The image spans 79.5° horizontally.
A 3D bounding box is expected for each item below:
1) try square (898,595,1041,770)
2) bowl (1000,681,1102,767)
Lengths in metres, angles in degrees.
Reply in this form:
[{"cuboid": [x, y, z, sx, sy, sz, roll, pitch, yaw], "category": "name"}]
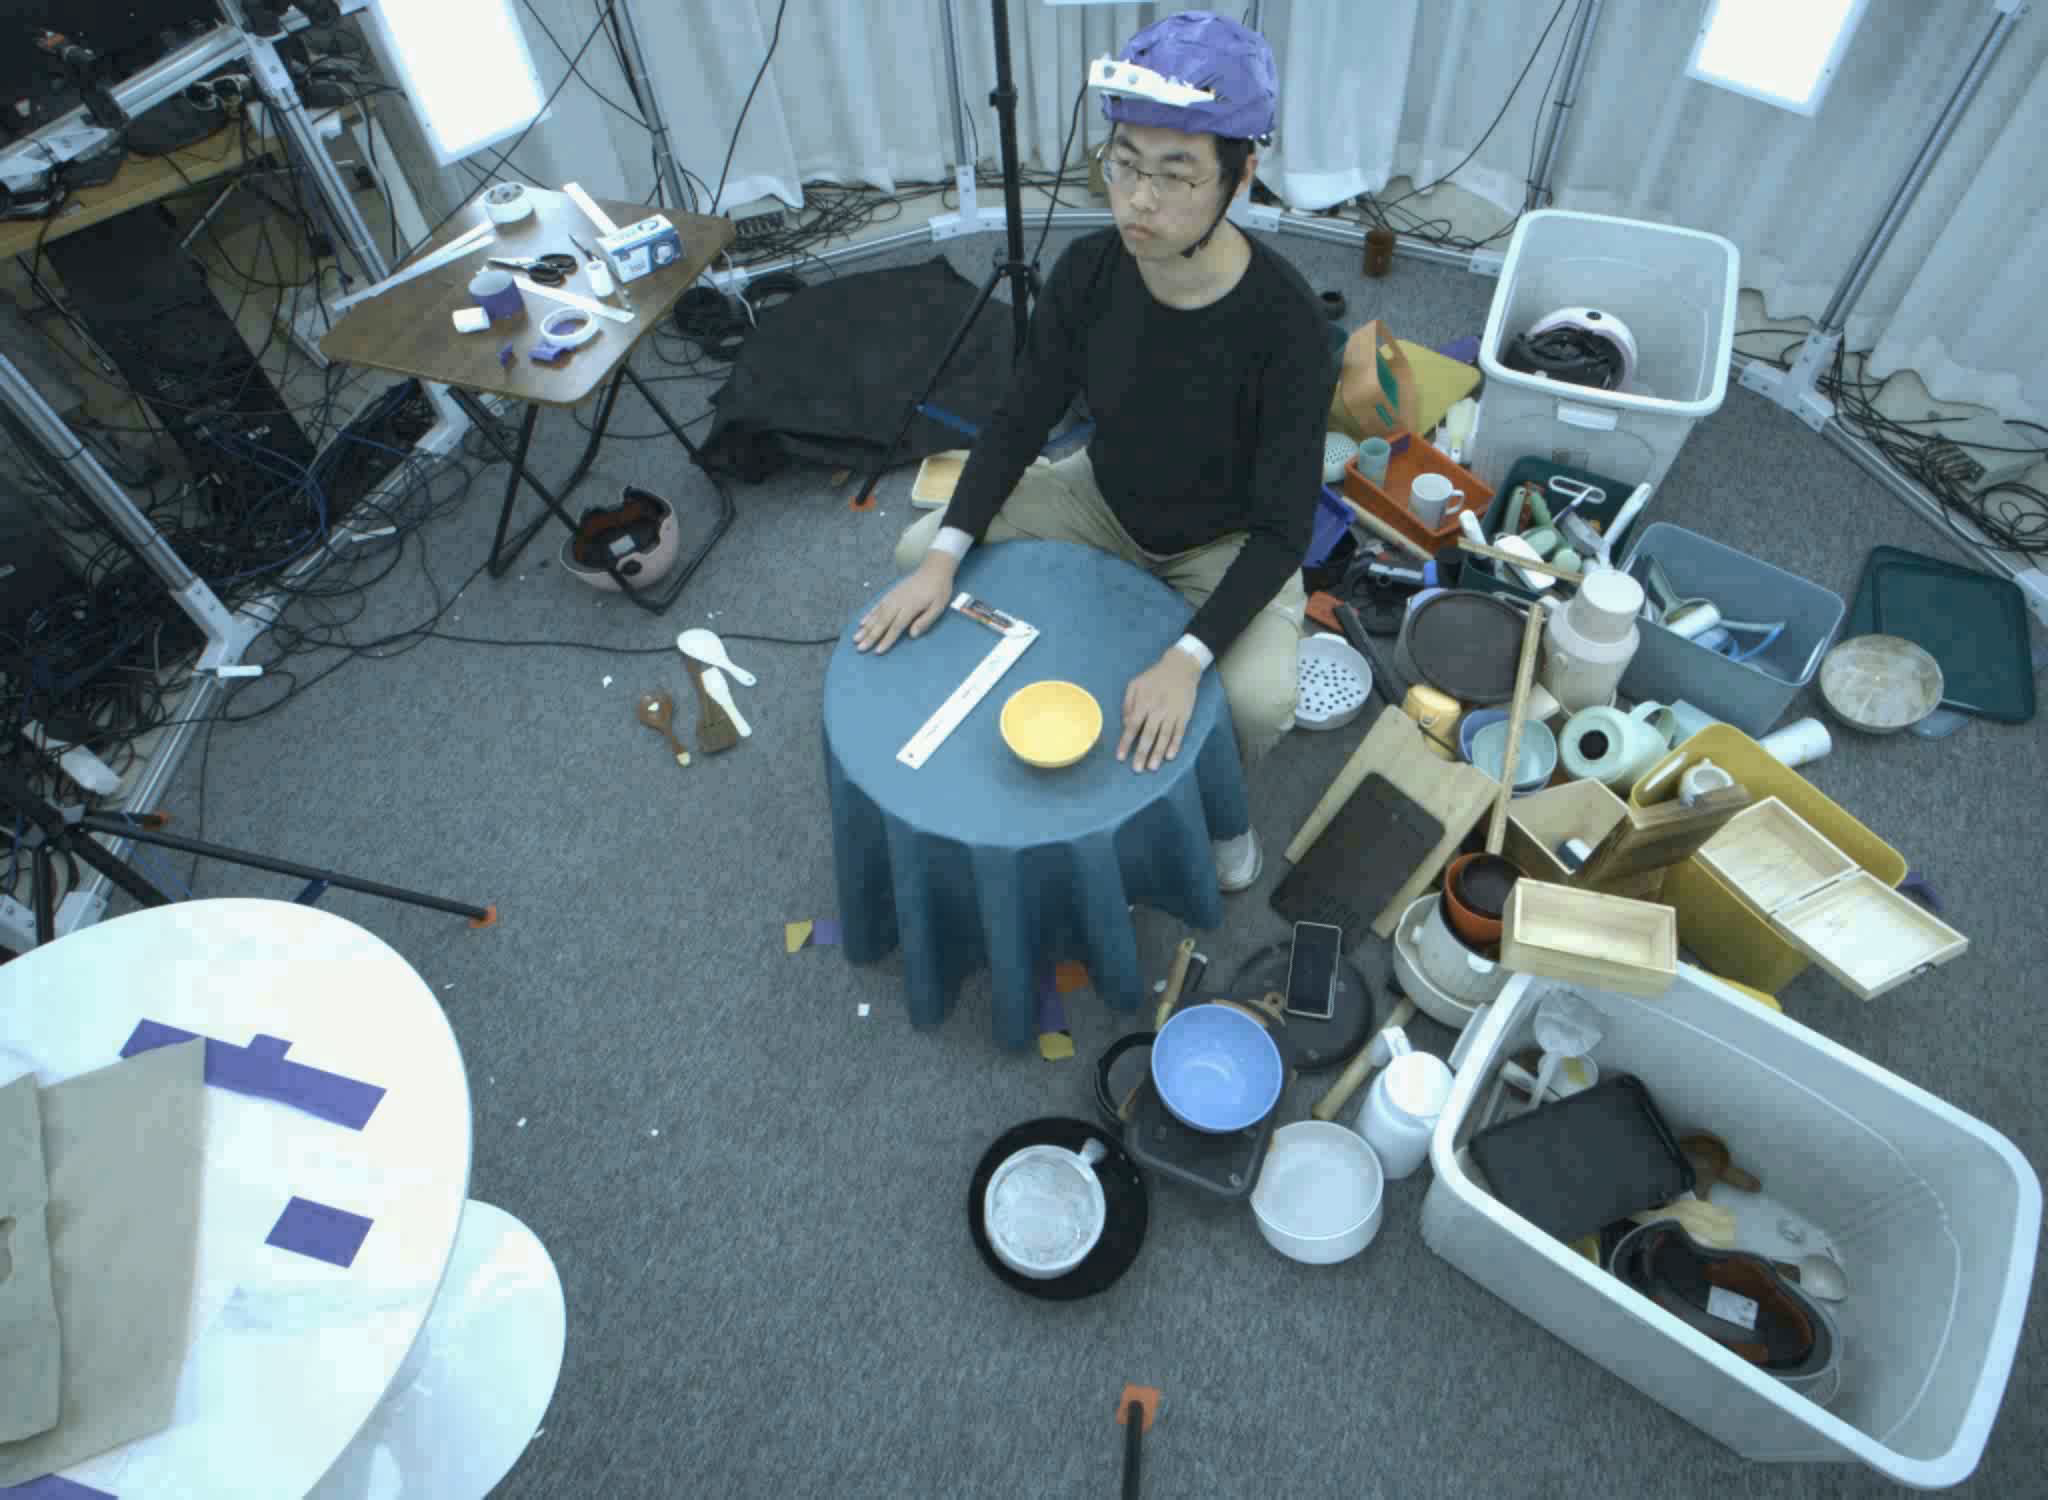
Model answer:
[{"cuboid": [-0.122, -0.109, 1.868, 0.149, 0.016, 0.314, 27, 61, 24], "category": "try square"}, {"cuboid": [0.039, -0.026, 1.771, 0.145, 0.060, 0.144, 1, 55, 0], "category": "bowl"}]
